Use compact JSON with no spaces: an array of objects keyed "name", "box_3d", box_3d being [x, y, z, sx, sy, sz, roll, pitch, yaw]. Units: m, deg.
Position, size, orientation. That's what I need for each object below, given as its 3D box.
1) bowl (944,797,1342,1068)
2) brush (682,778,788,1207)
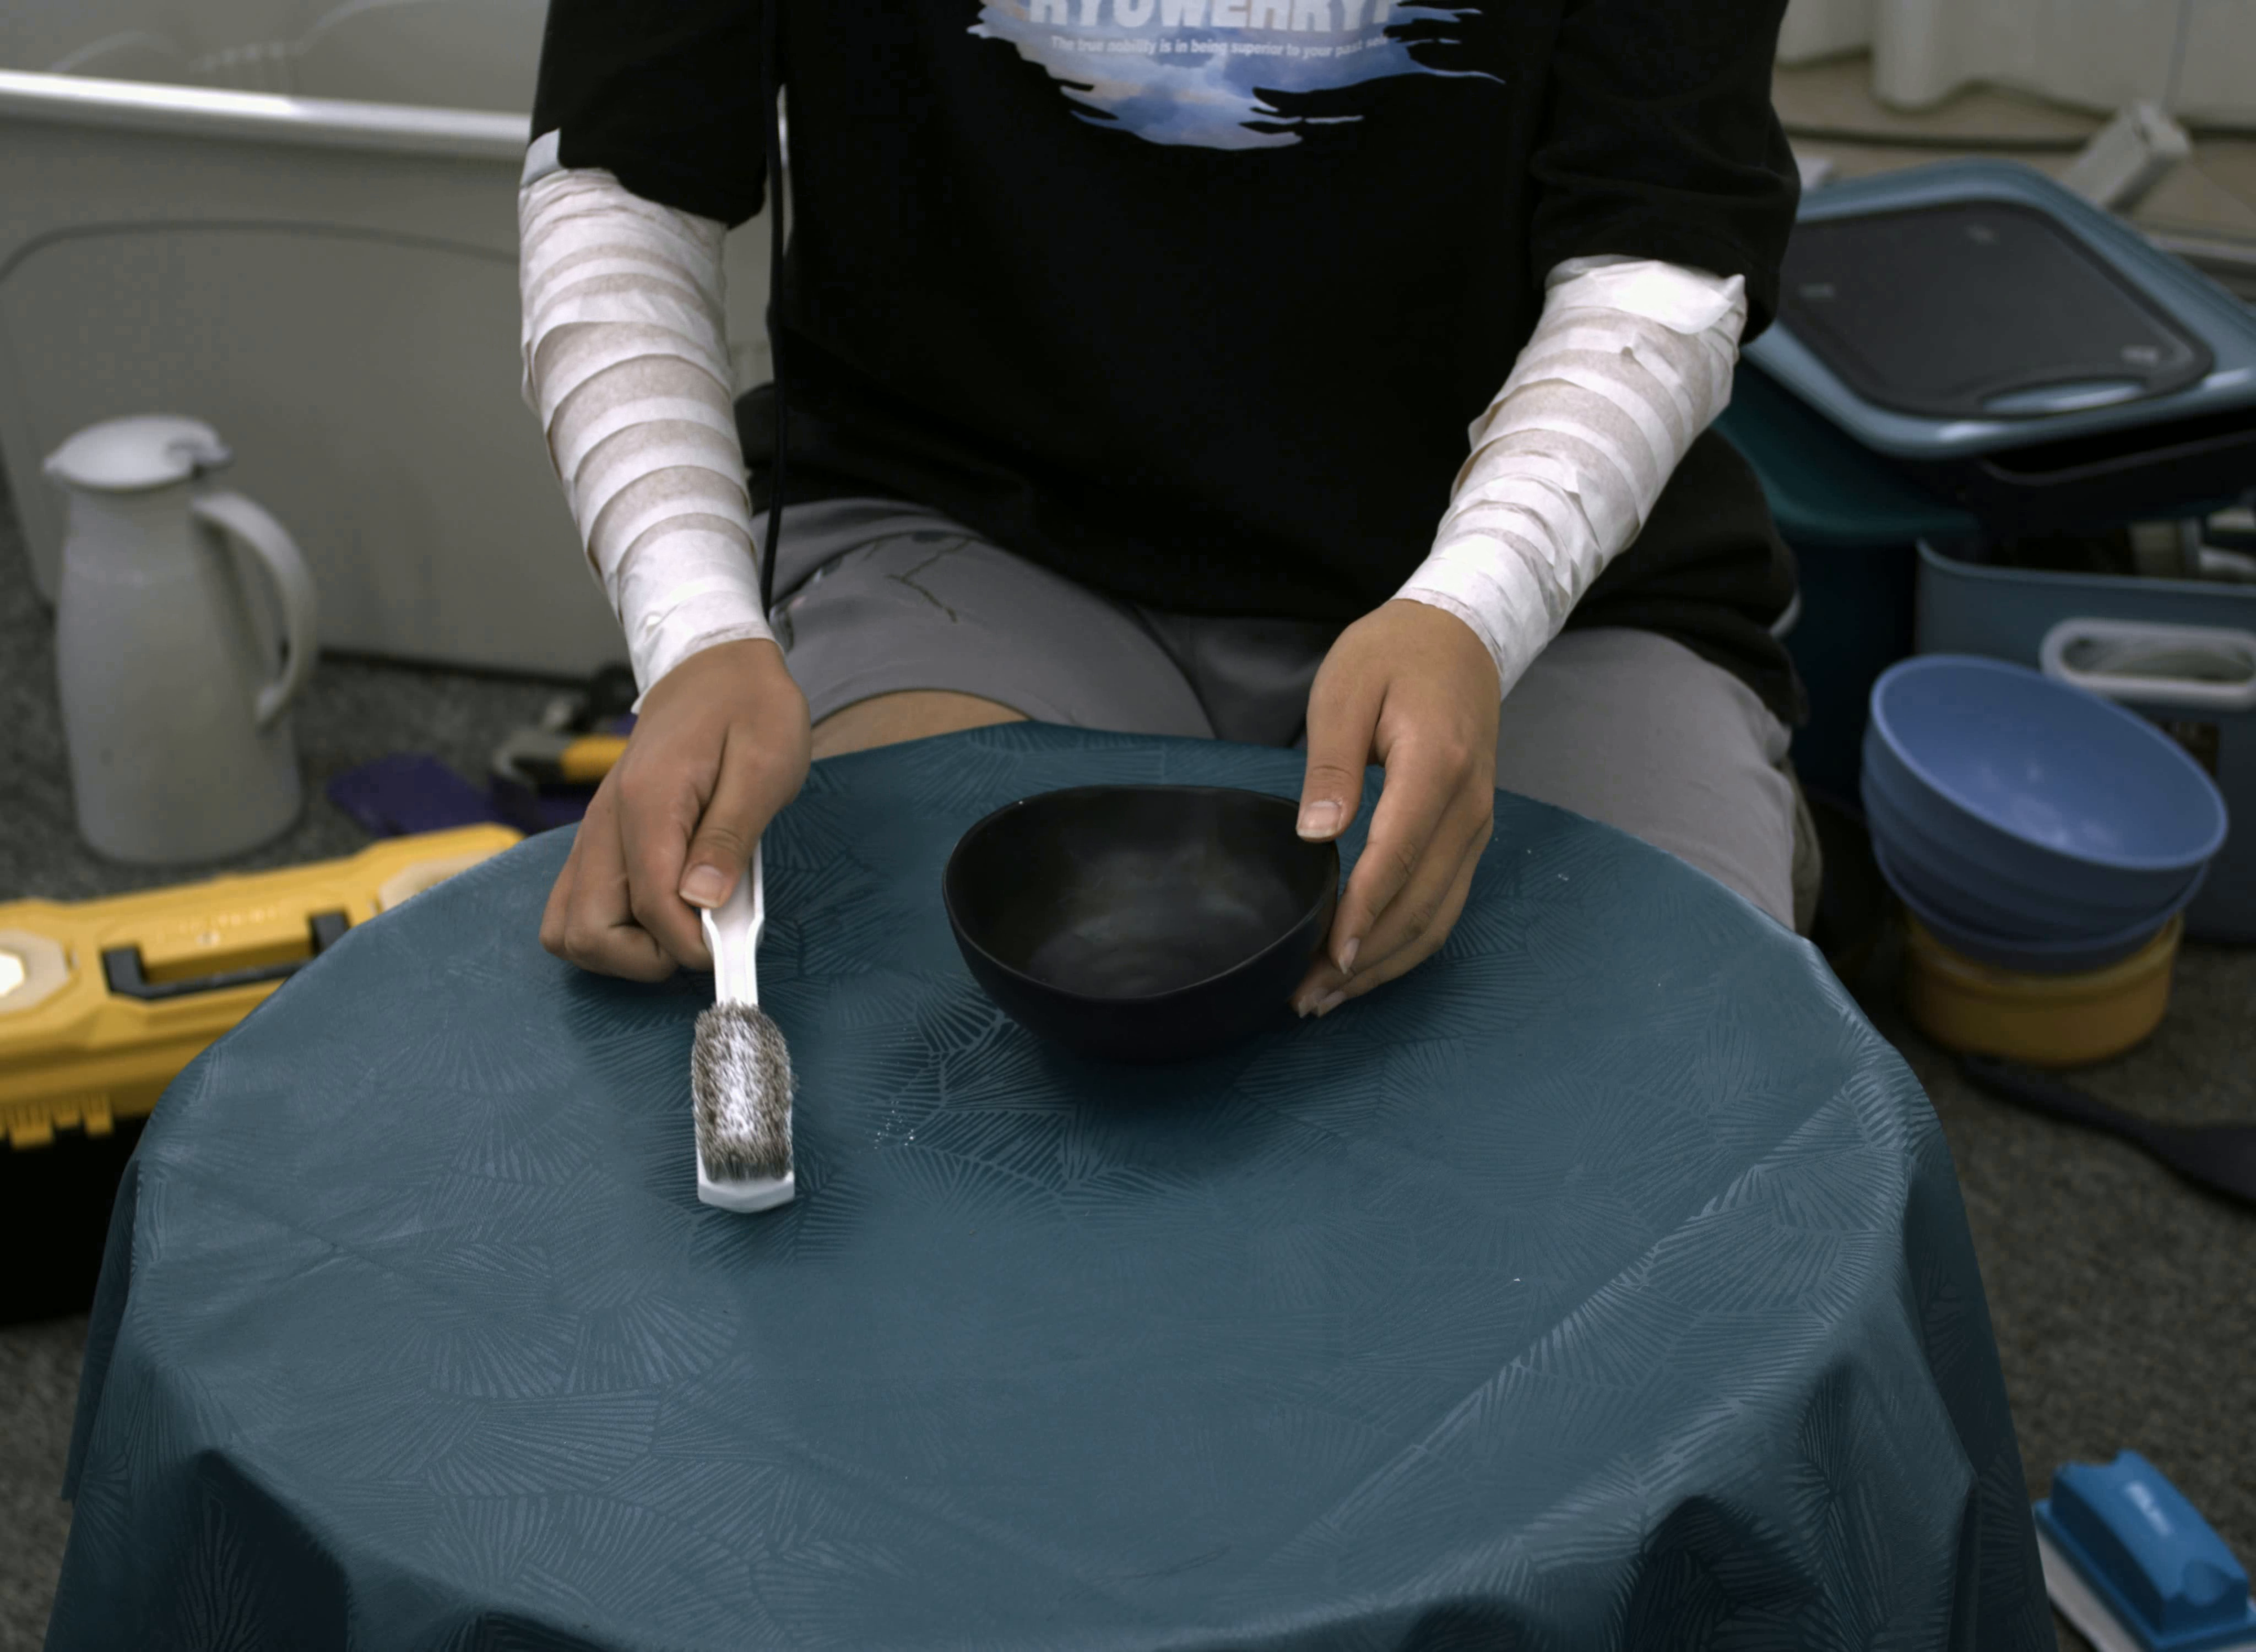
[{"name":"bowl","box_3d":[0.007,0.041,1.950,0.136,0.066,0.173,2,25,9]},{"name":"brush","box_3d":[-0.134,0.041,1.934,0.034,0.049,0.248,-1,36,-2]}]
